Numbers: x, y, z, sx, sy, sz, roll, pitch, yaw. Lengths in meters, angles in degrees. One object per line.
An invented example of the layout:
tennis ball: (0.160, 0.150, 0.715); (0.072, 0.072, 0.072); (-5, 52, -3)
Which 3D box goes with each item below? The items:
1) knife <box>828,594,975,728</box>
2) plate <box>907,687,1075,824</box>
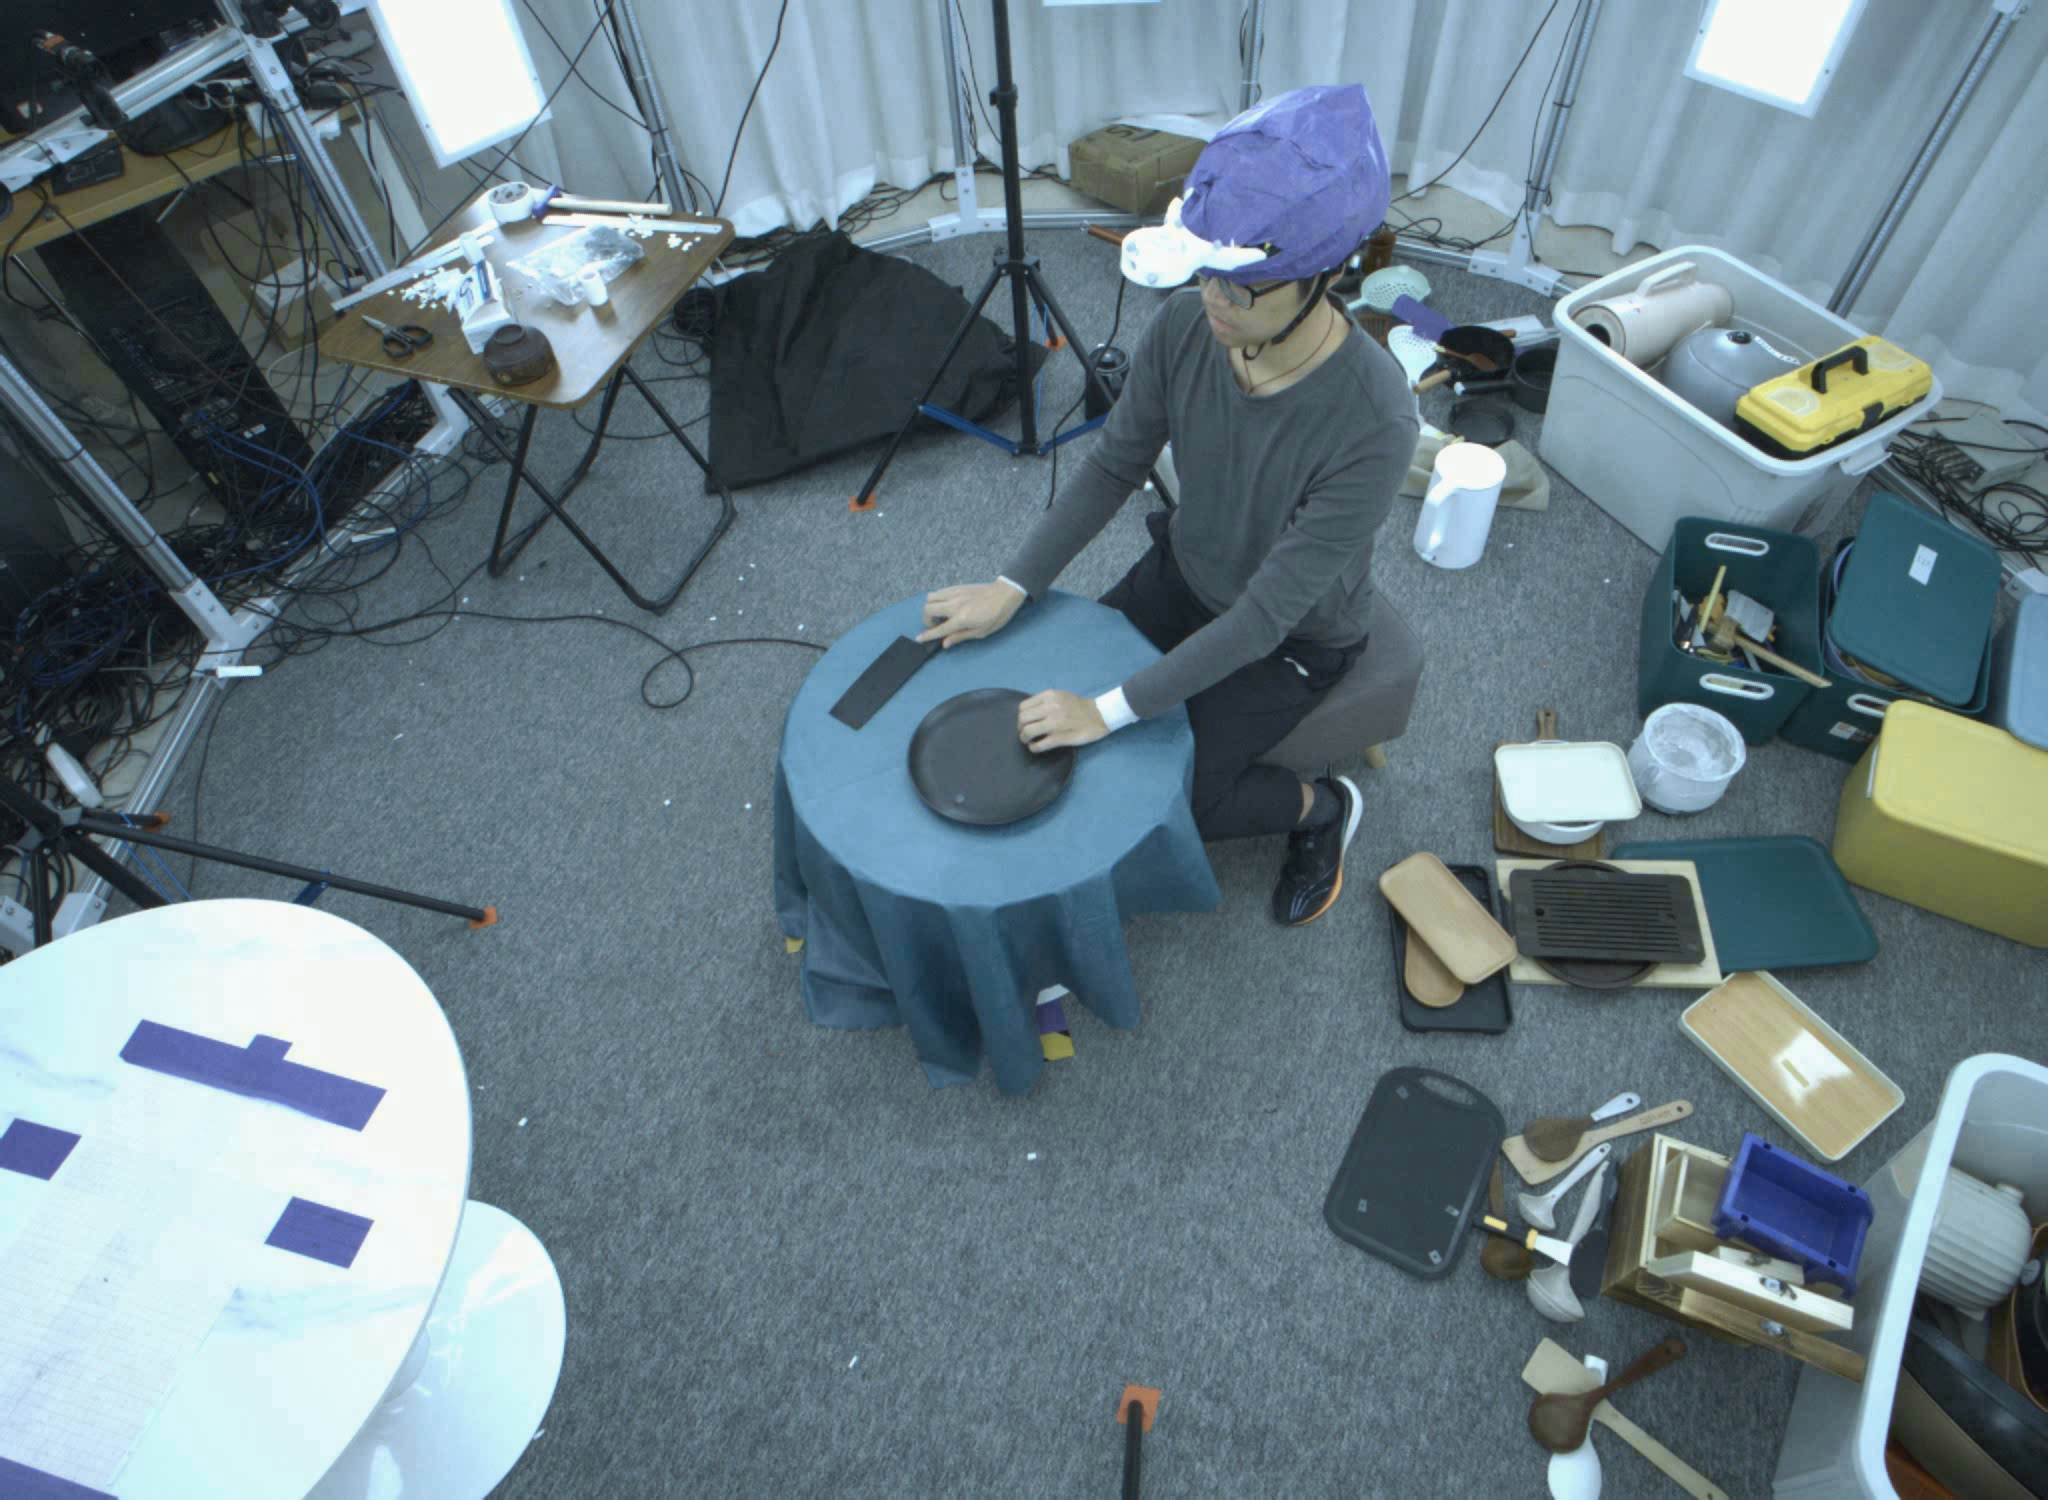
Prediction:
knife: (-0.183, -0.144, 1.895); (0.079, 0.021, 0.304); (33, 63, 26)
plate: (-0.048, 0.009, 1.776); (0.244, 0.023, 0.242); (0, 54, 1)
